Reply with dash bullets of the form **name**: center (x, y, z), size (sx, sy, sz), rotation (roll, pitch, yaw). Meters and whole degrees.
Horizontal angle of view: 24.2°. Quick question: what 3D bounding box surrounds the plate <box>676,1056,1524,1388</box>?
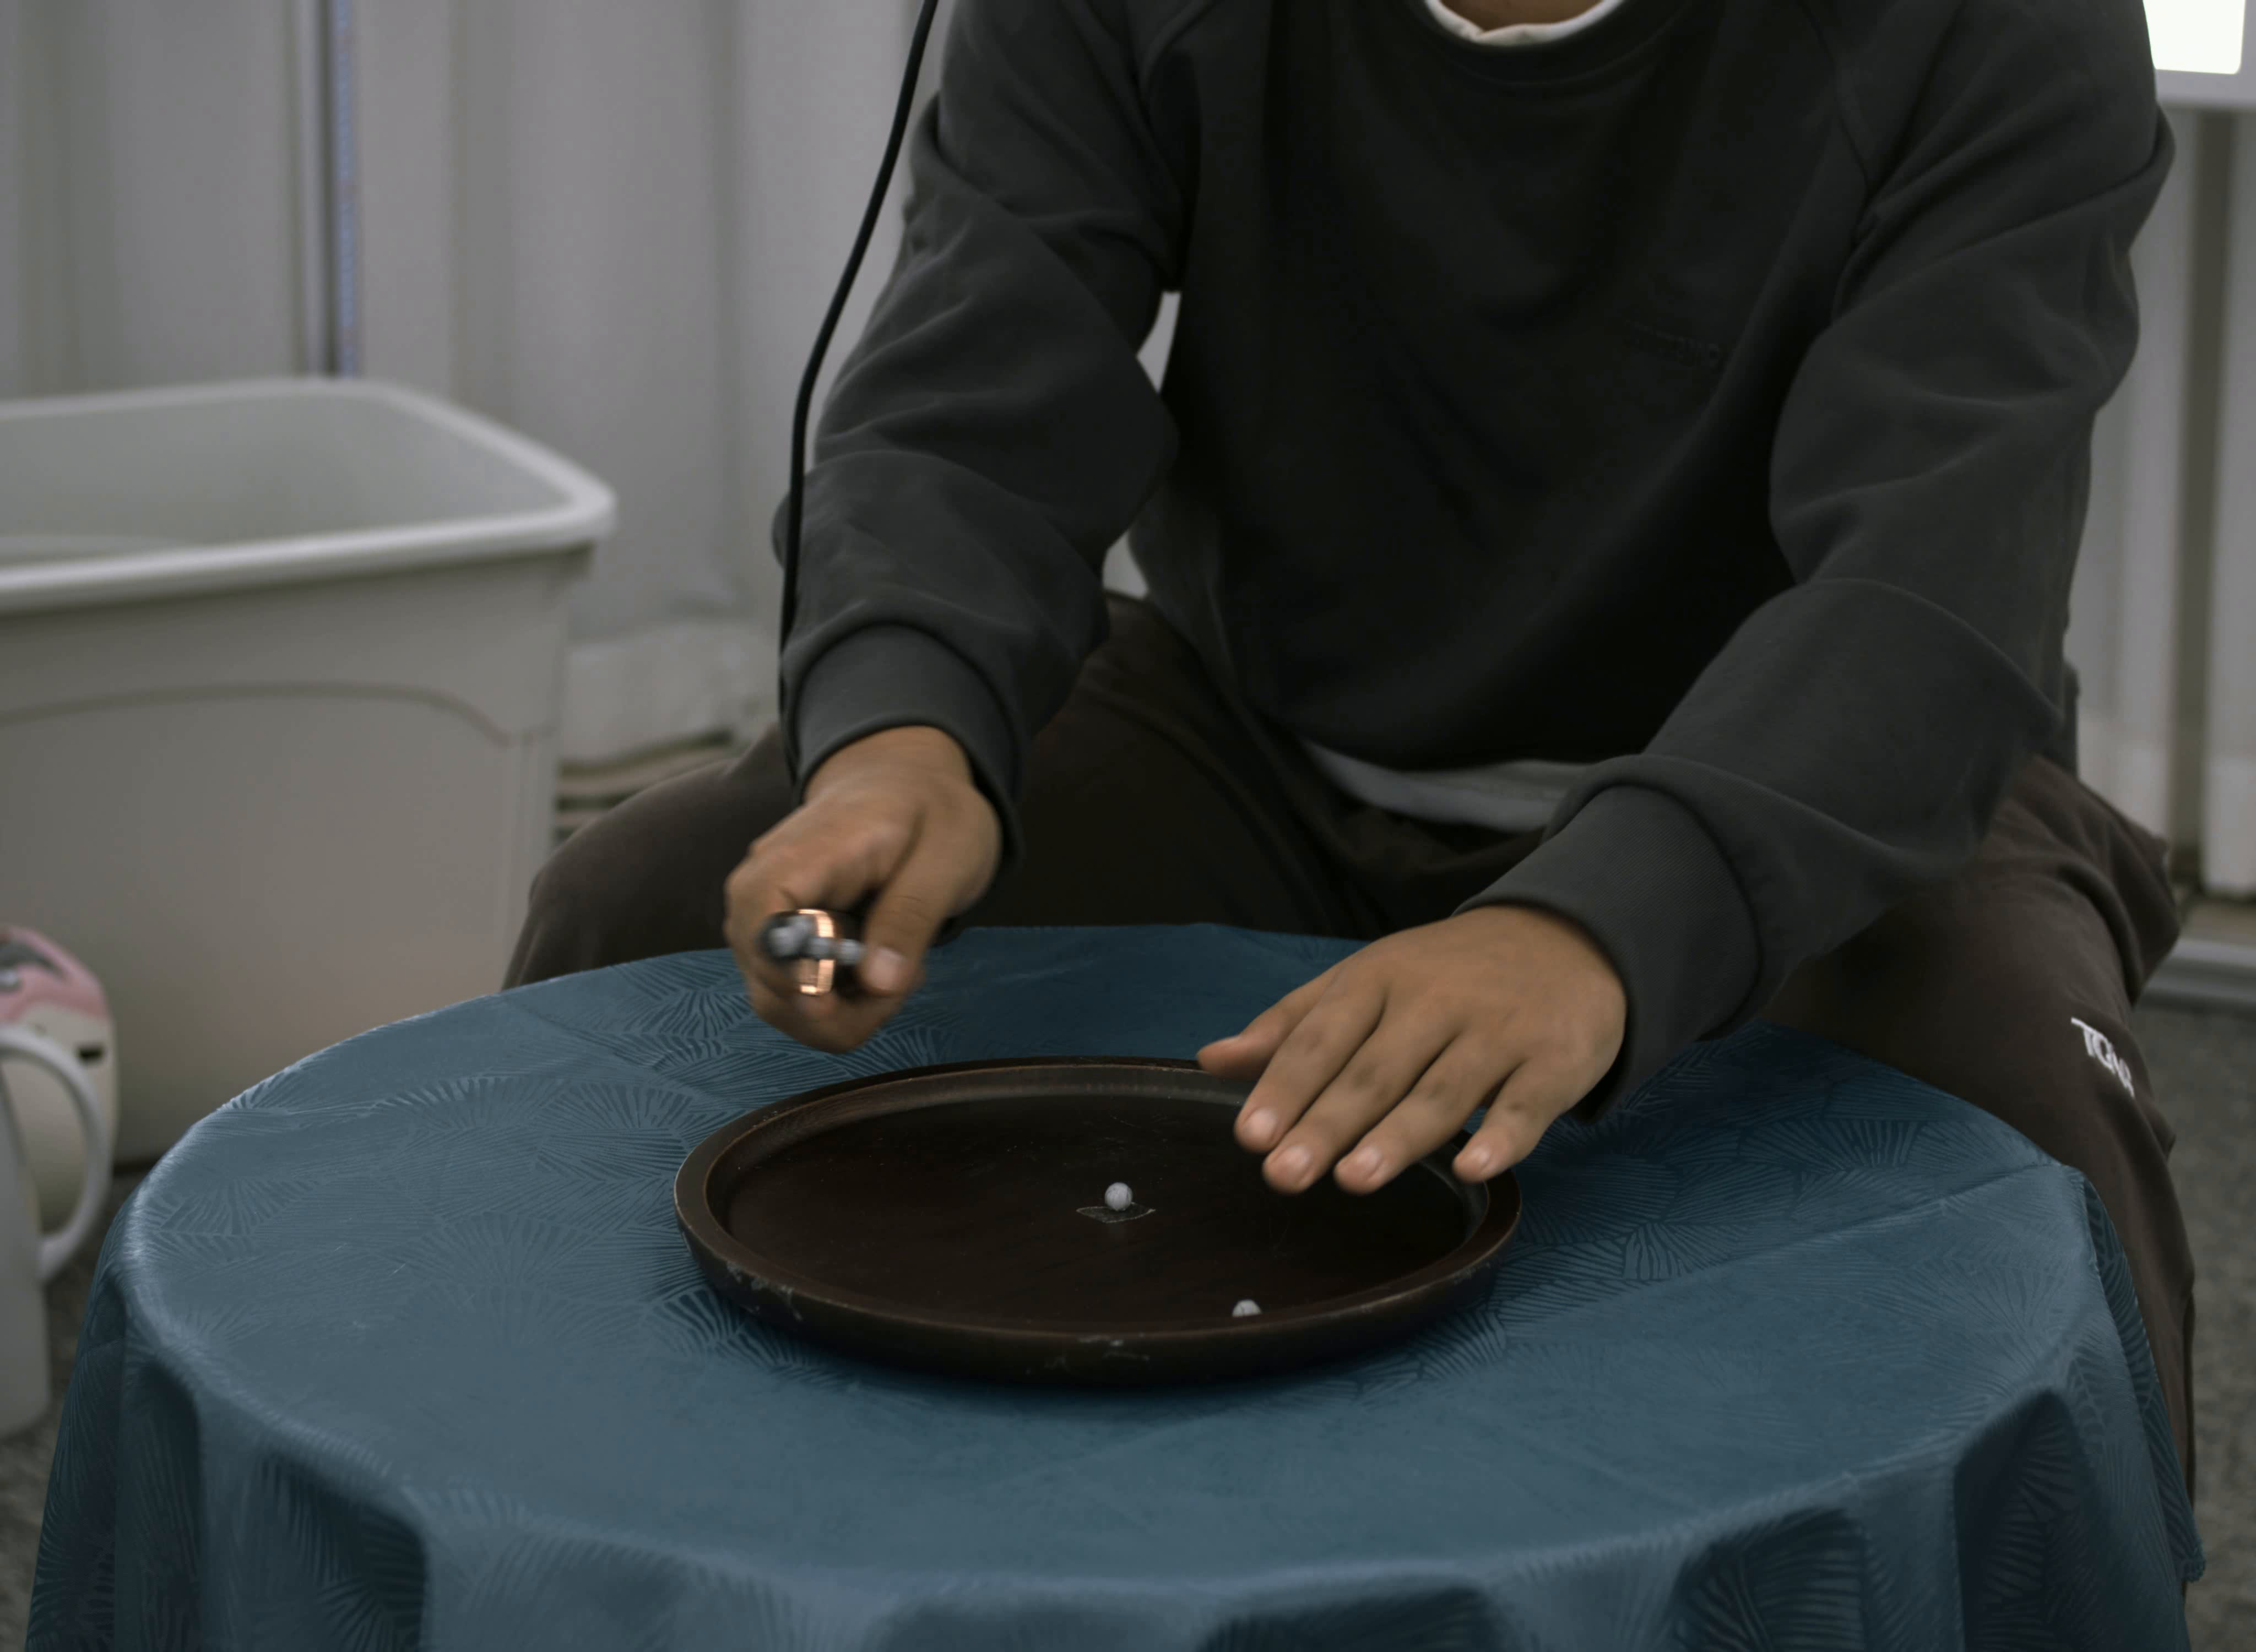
- **plate**: center (-0.008, 0.116, 1.570), size (0.254, 0.029, 0.253), rotation (0, 14, 0)

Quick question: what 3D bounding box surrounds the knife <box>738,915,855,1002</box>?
- **knife**: center (-0.100, 0.040, 1.573), size (0.017, 0.026, 0.226), rotation (2, -2, 3)
